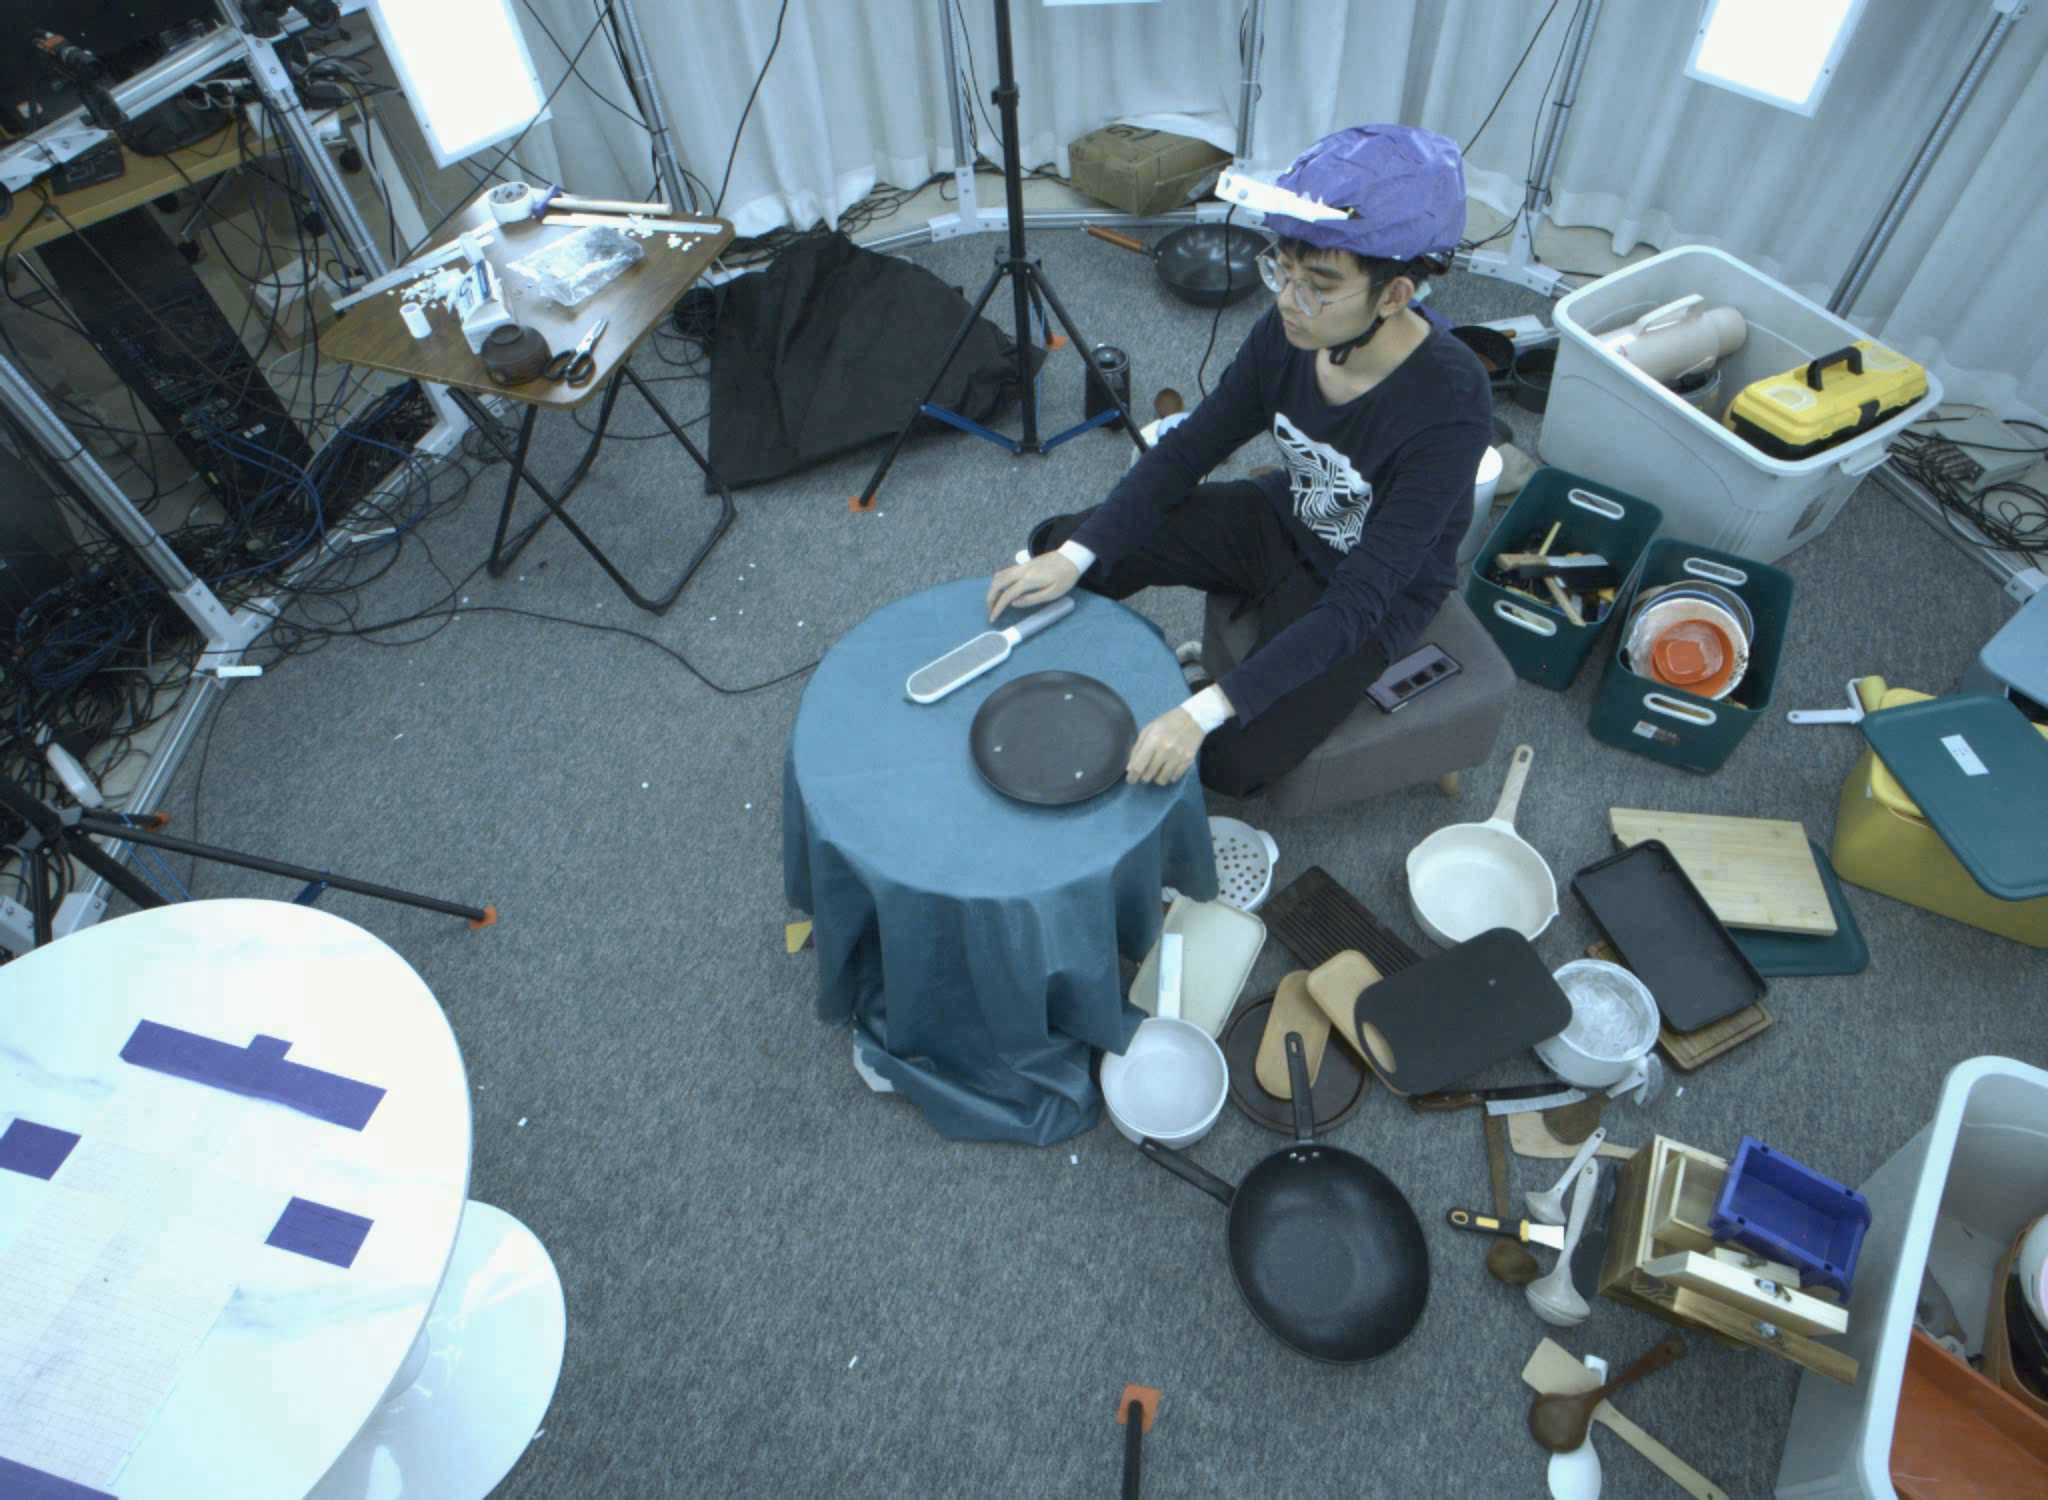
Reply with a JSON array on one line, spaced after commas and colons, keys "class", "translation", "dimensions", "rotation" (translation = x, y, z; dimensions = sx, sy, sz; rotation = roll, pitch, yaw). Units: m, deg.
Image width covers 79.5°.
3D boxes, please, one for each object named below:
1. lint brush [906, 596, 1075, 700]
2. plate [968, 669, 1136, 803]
[{"class": "lint brush", "translation": [-0.048, -0.161, 1.894], "dimensions": [0.311, 0.021, 0.059], "rotation": [-31, 54, -19]}, {"class": "plate", "translation": [0.041, -0.020, 1.794], "dimensions": [0.244, 0.023, 0.242], "rotation": [0, 55, 1]}]
